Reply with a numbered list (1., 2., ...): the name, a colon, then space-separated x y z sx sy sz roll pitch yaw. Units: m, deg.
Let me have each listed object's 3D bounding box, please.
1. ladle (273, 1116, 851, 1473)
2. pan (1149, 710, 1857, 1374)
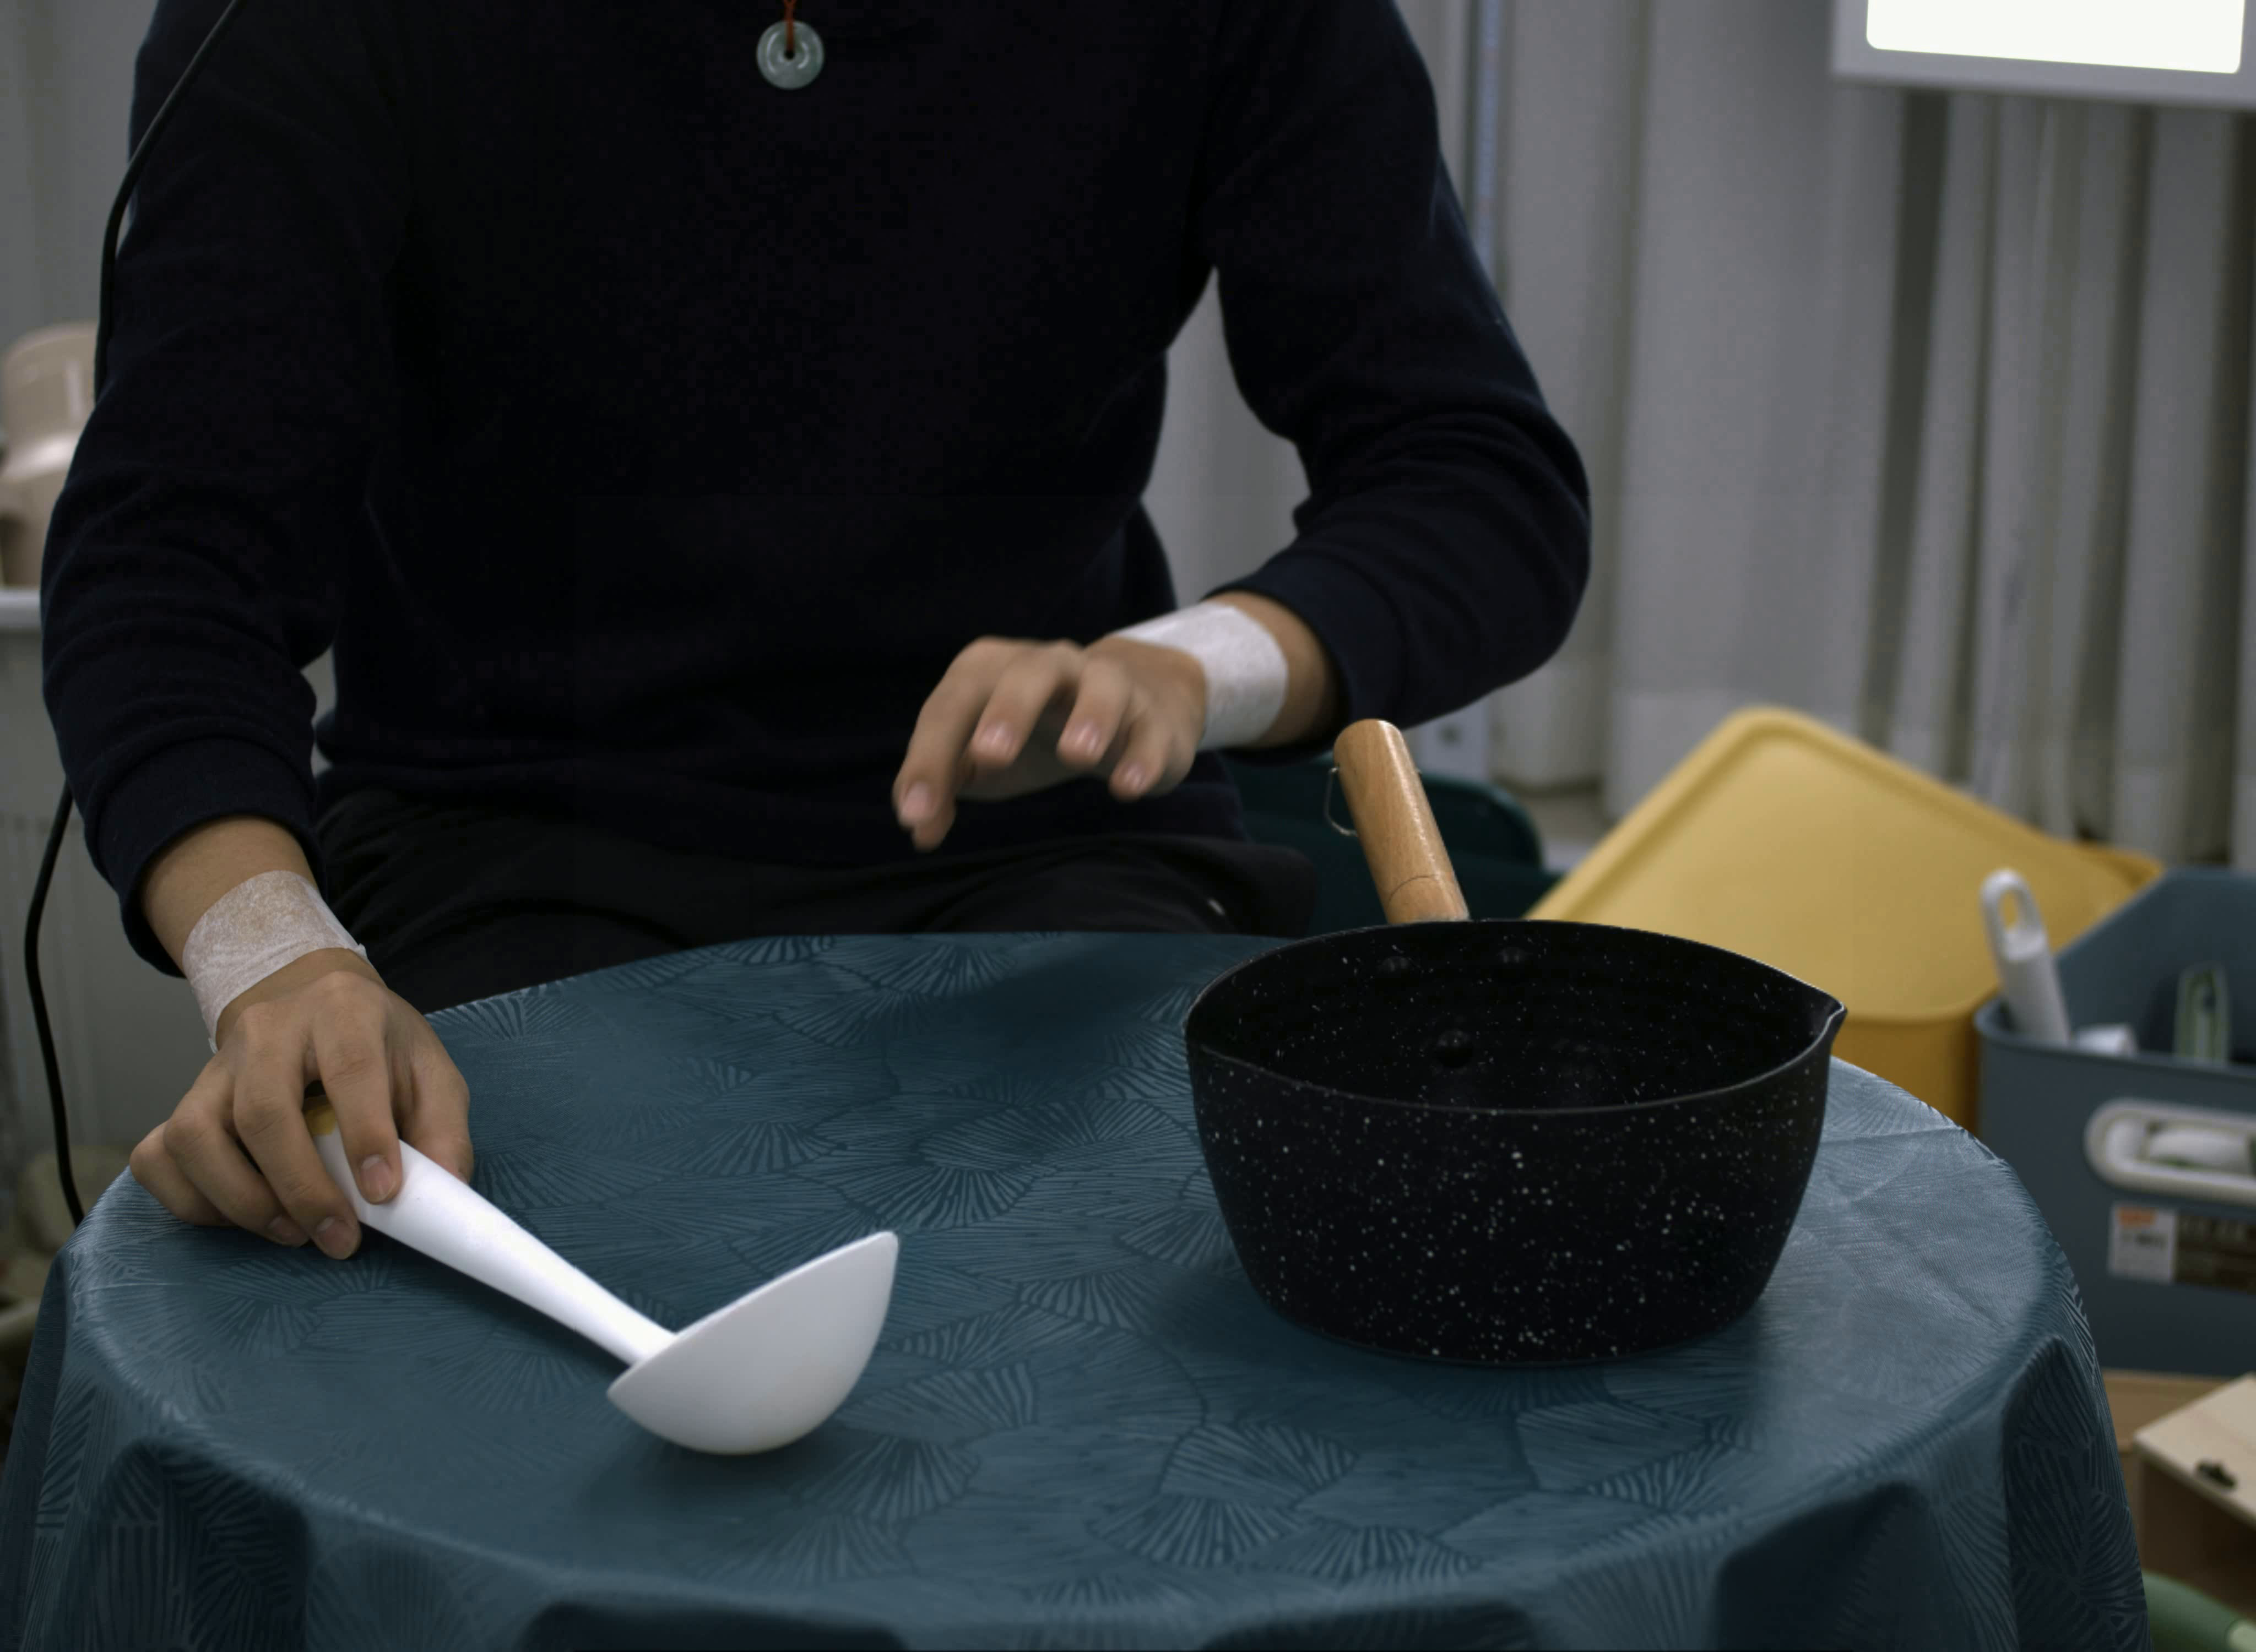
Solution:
1. ladle: -0.172 0.118 1.488 0.090 0.071 0.289 -33 29 -24
2. pan: 0.099 0.060 1.609 0.207 0.109 0.340 -3 17 -8
